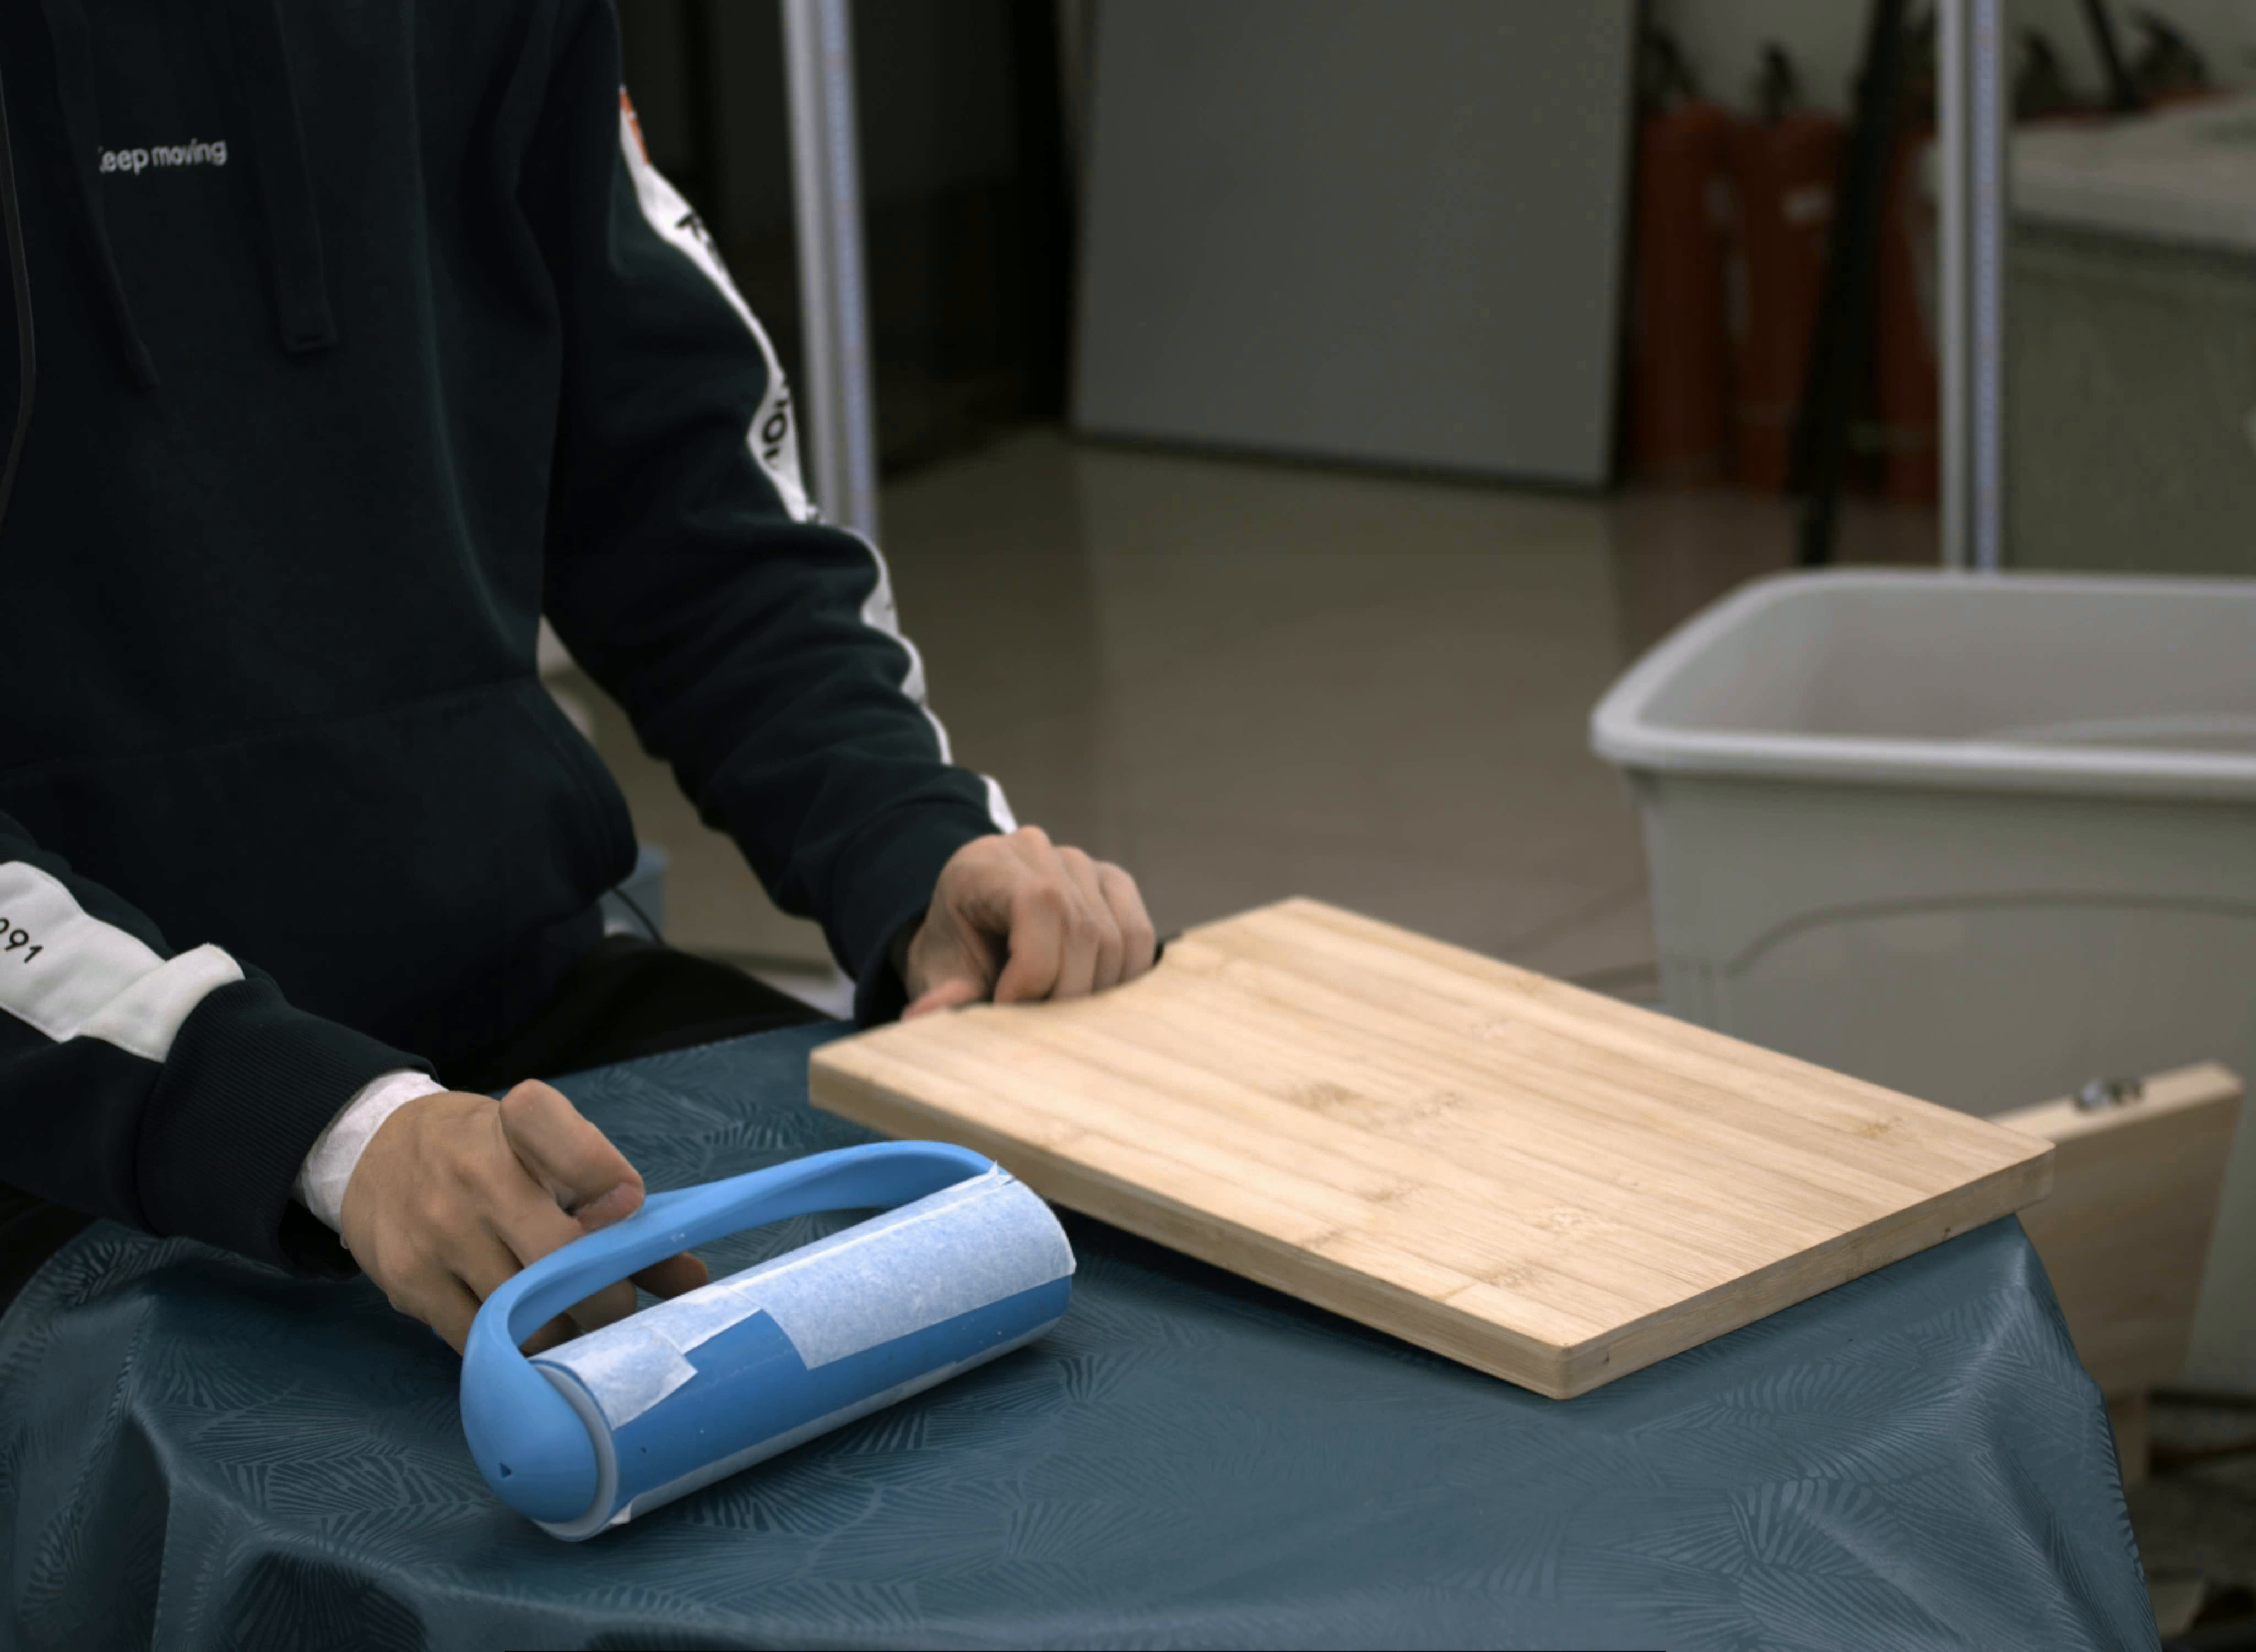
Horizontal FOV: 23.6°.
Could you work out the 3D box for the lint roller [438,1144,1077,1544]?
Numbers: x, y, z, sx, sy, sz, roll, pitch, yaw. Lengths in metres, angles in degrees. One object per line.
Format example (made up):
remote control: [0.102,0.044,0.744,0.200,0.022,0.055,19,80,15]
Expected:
lint roller: [-0.142,0.144,1.600,0.181,0.068,0.225,8,19,38]

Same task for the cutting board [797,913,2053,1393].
cutting board: [0.091,0.099,1.751,0.245,0.024,0.352,-16,22,-41]
